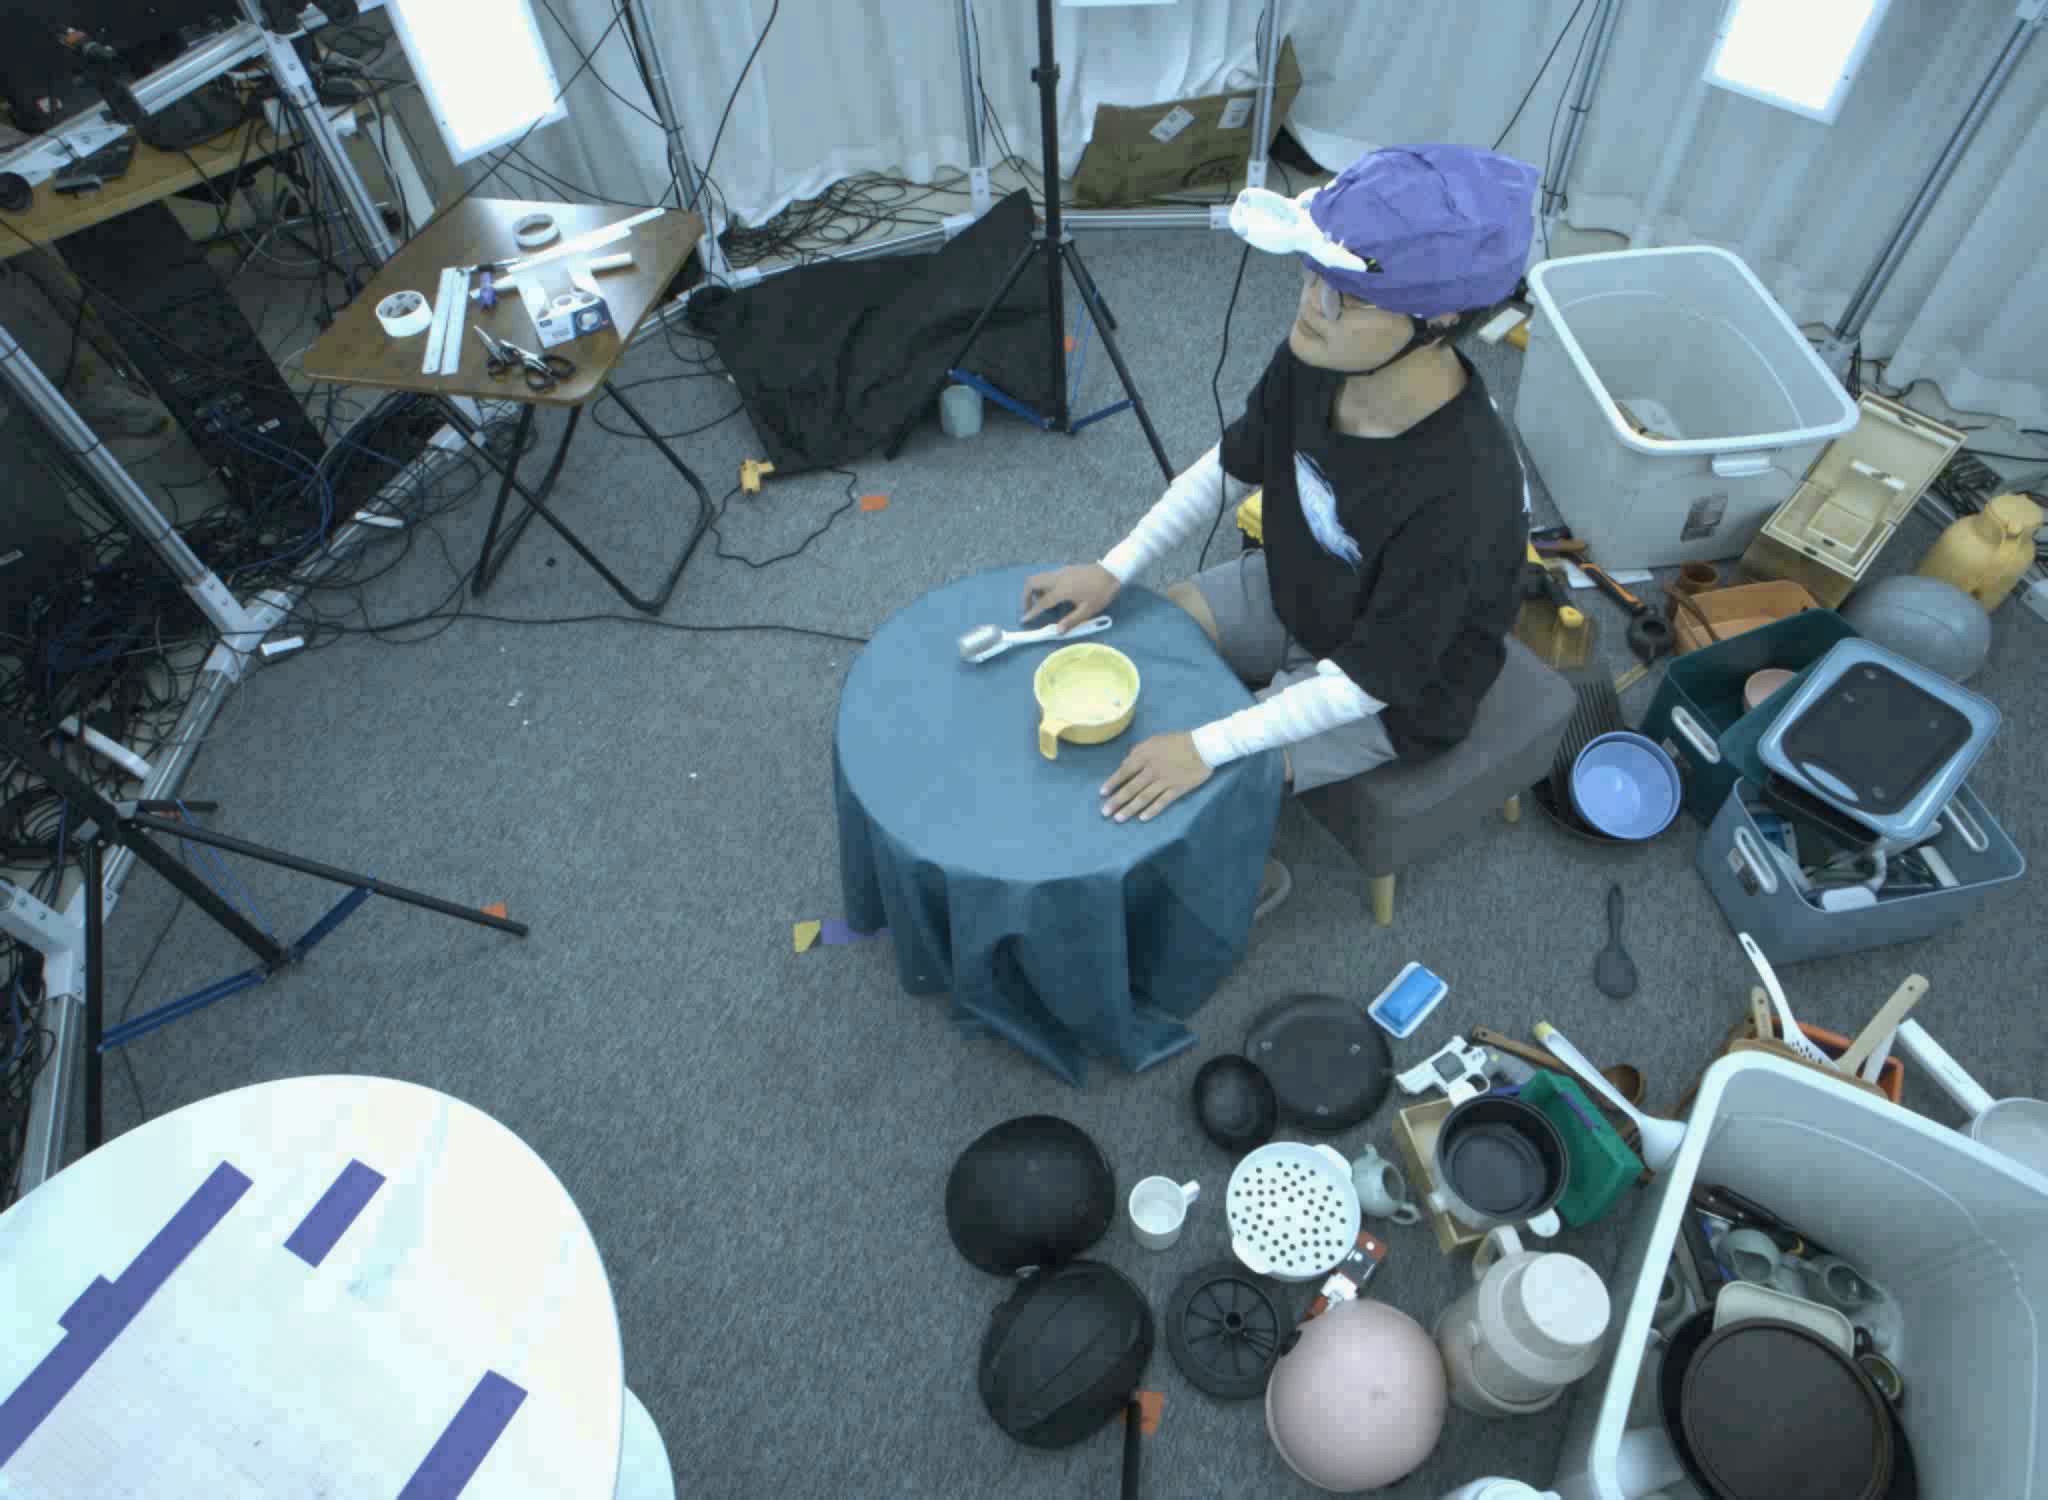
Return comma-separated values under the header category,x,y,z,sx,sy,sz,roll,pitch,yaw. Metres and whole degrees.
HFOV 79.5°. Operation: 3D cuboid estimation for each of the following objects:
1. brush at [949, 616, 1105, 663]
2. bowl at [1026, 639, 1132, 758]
category,x,y,z,sx,sy,sz,roll,pitch,yaw
brush,0.006,-0.184,1.879,0.245,0.051,0.034,-13,53,-7
bowl,0.071,-0.073,1.785,0.151,0.075,0.180,28,61,15
